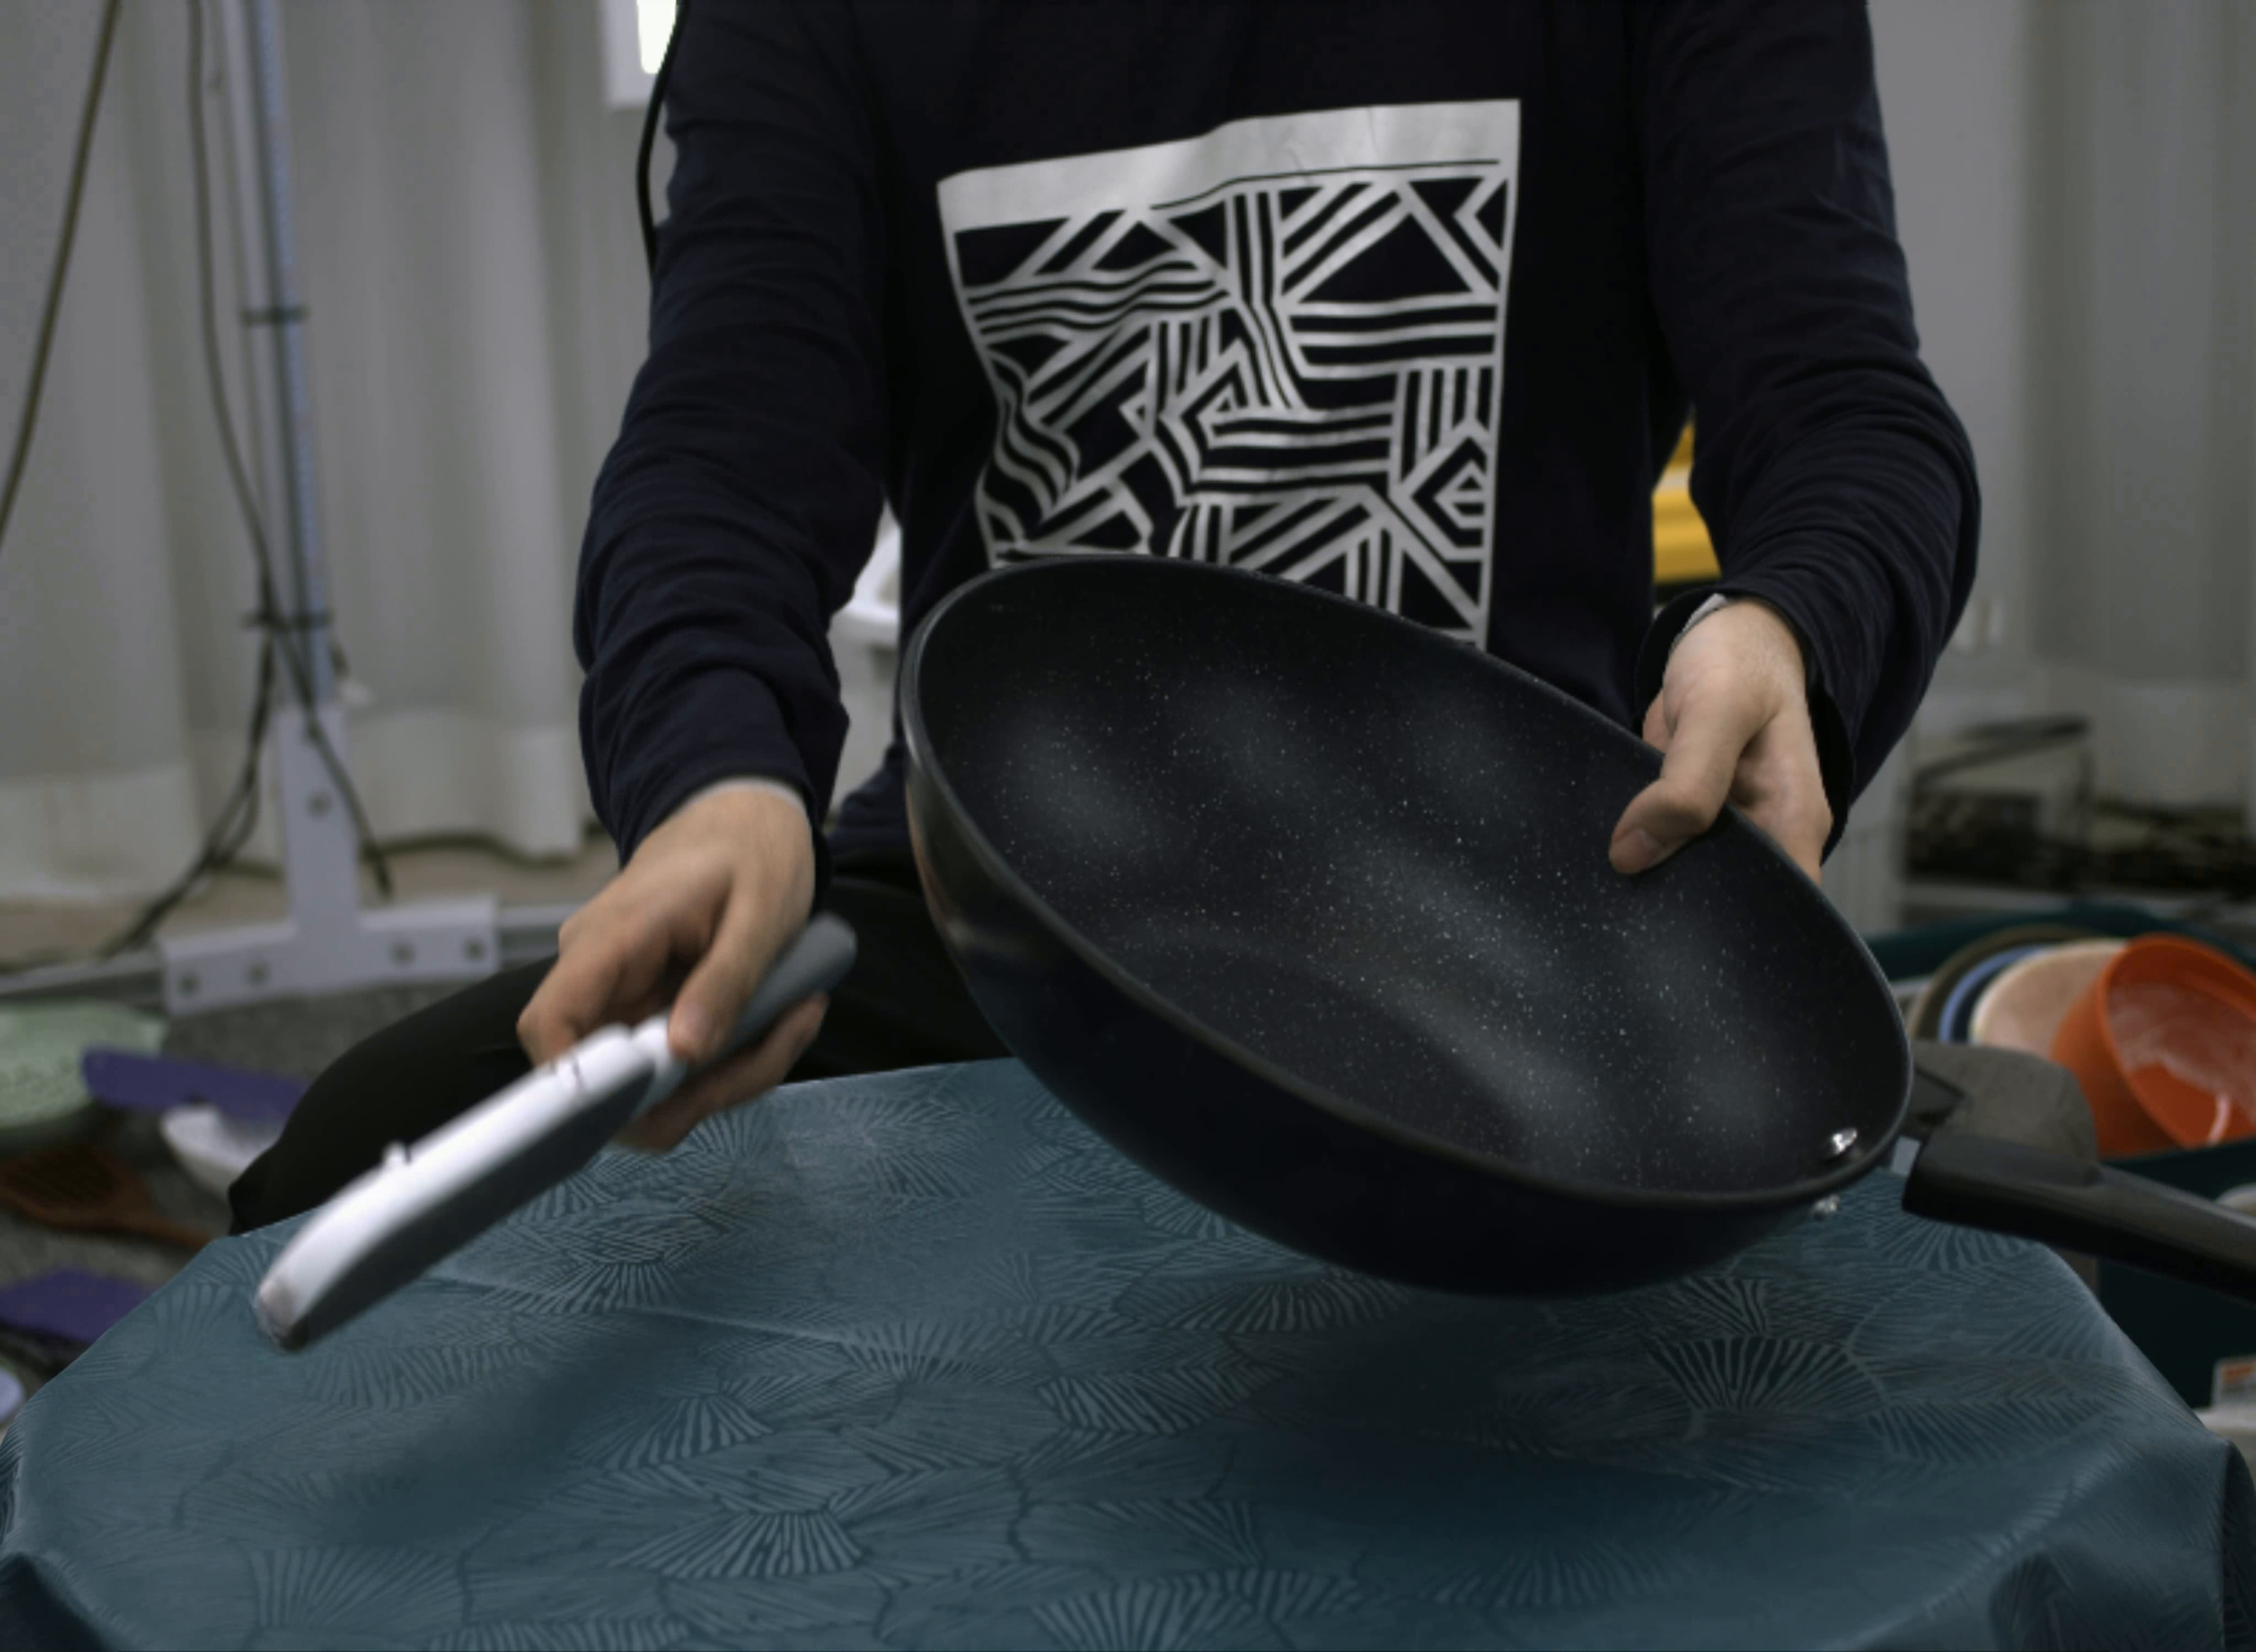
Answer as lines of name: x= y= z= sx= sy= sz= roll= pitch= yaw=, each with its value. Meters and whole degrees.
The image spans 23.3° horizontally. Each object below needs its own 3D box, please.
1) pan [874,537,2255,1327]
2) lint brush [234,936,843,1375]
pan: x=0.136 y=0.071 z=1.527 sx=0.477 sy=0.111 sz=0.312 roll=28 pitch=28 yaw=7
lint brush: x=-0.165 y=0.089 z=1.611 sx=0.021 sy=0.059 sz=0.310 roll=43 pitch=31 yaw=8
